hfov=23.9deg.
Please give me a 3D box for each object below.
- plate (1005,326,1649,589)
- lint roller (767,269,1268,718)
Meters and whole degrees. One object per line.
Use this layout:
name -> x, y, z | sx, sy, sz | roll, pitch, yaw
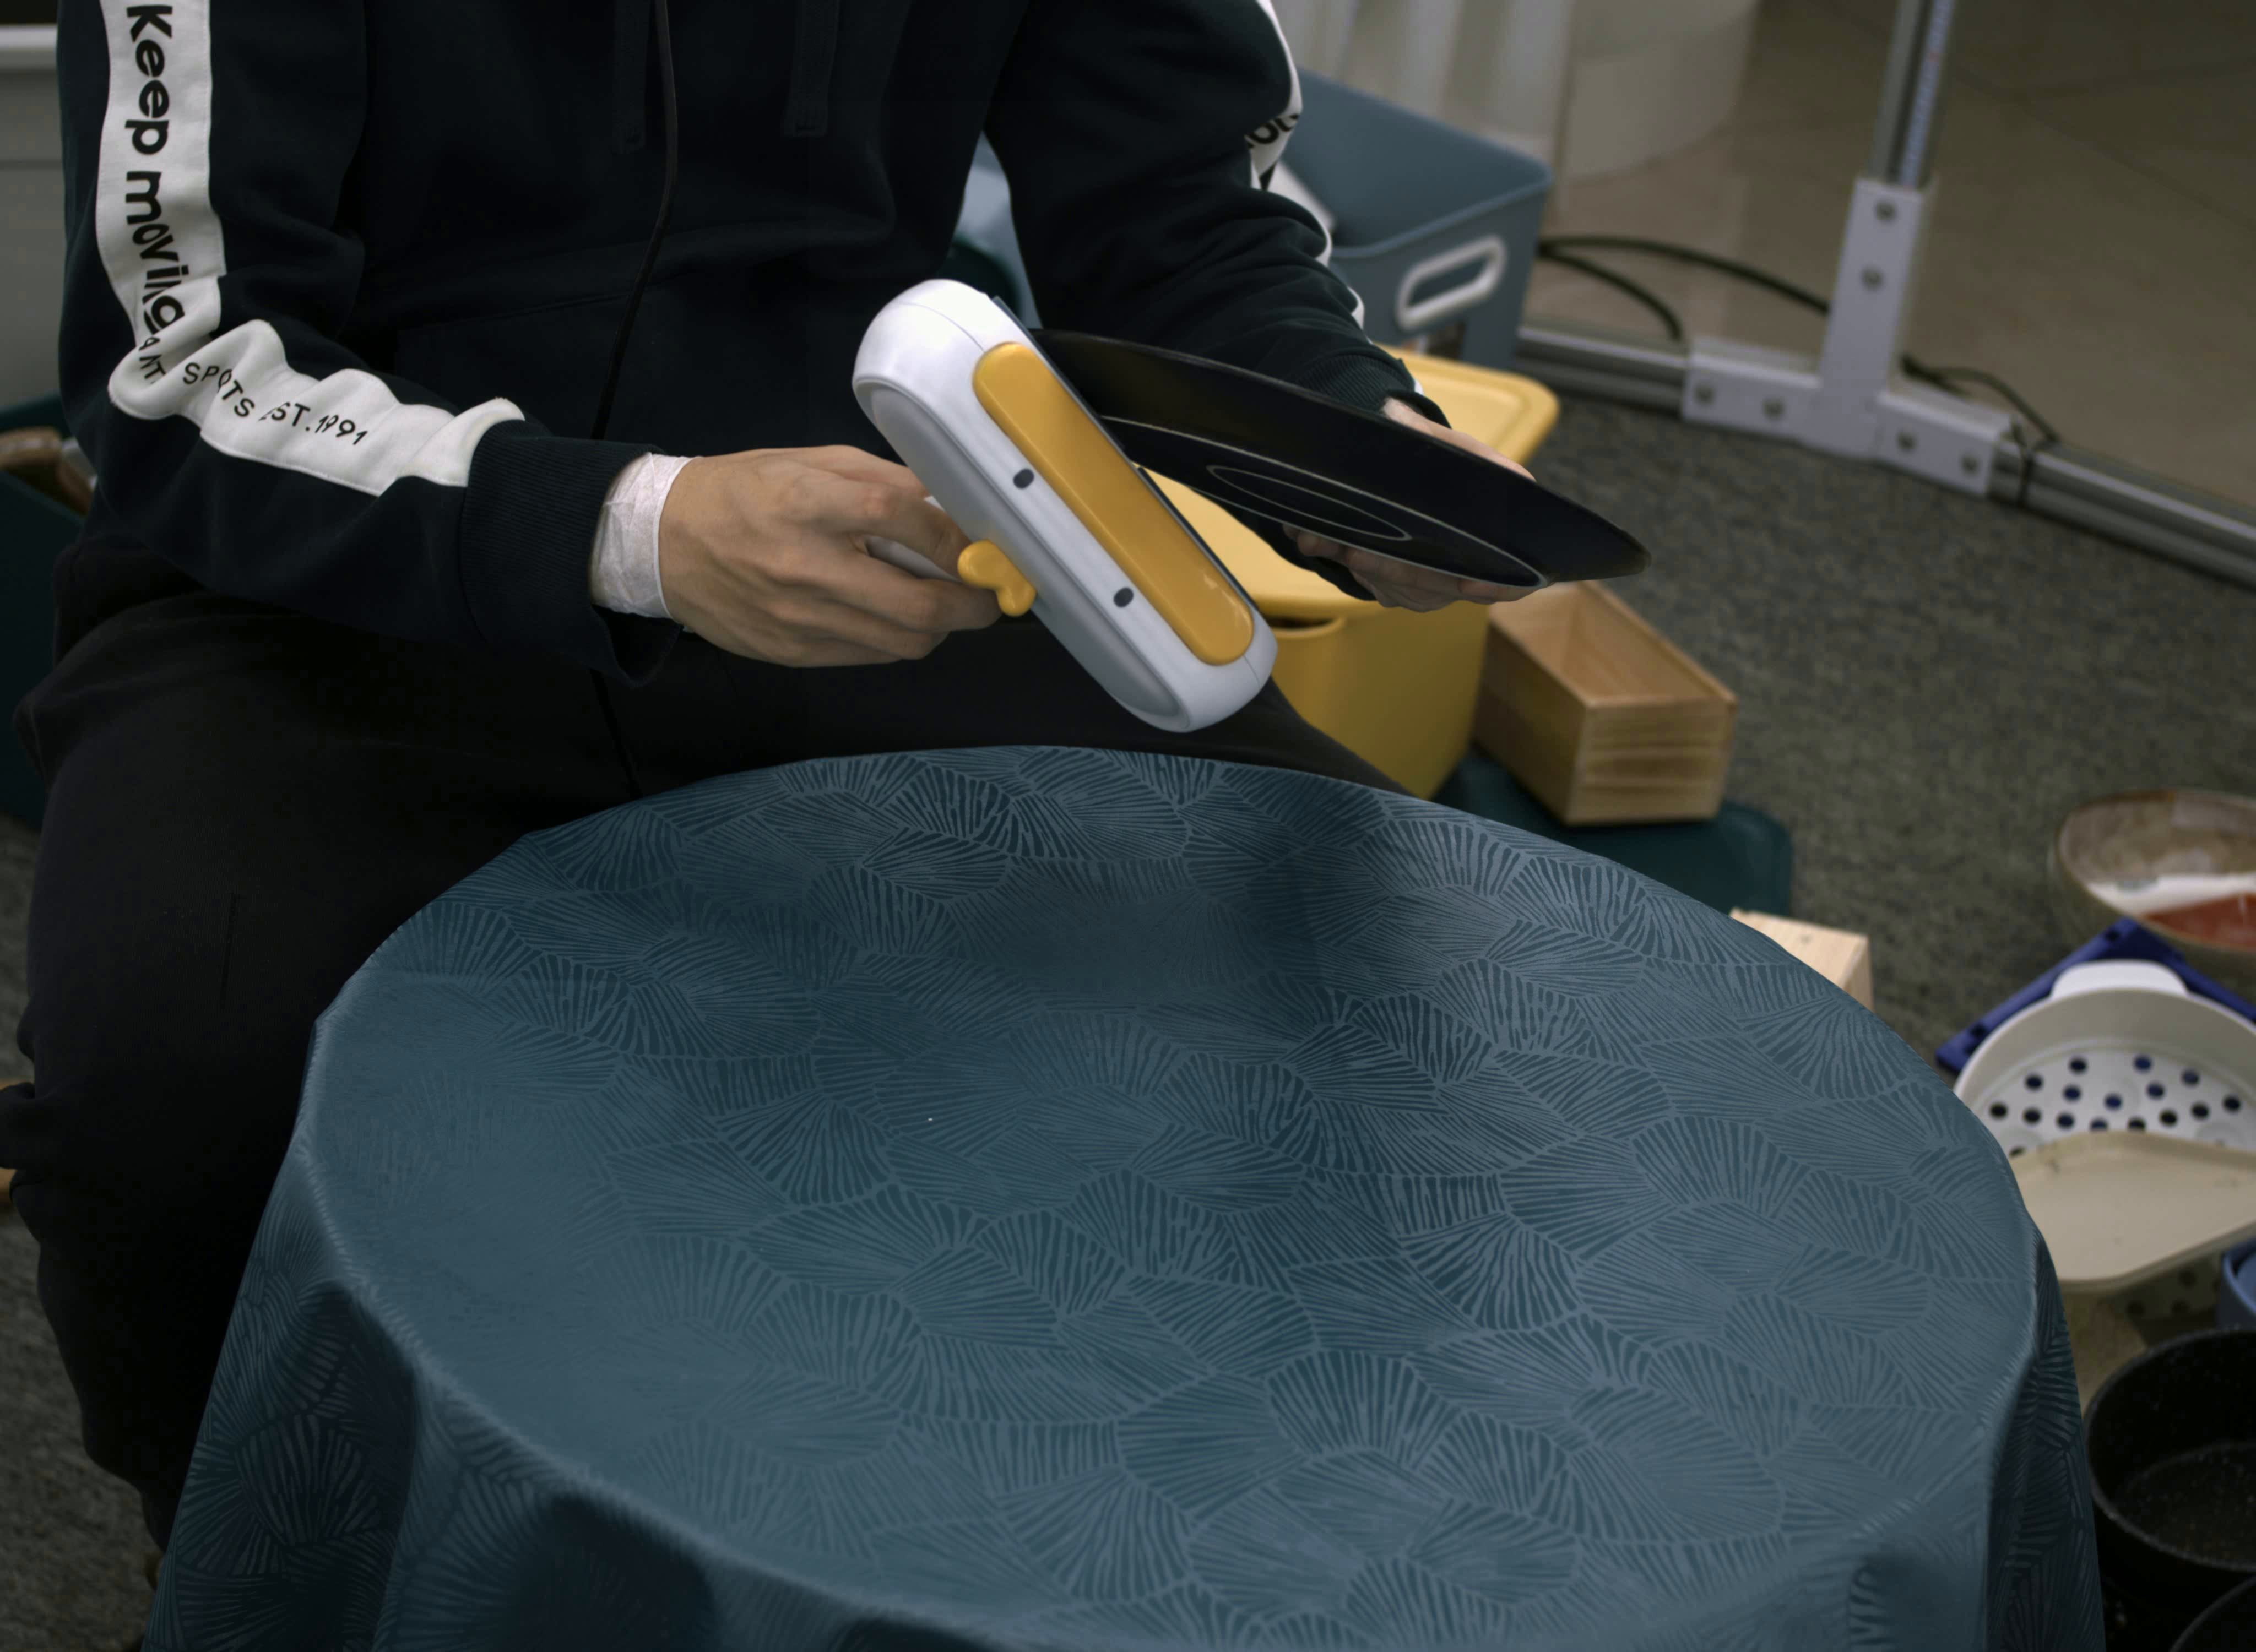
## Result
plate -> 0.067, -0.125, 1.893 | 0.244, 0.023, 0.244 | 19, -3, 1
lint roller -> -0.062, -0.103, 1.909 | 0.193, 0.191, 0.074 | -12, 40, 57
